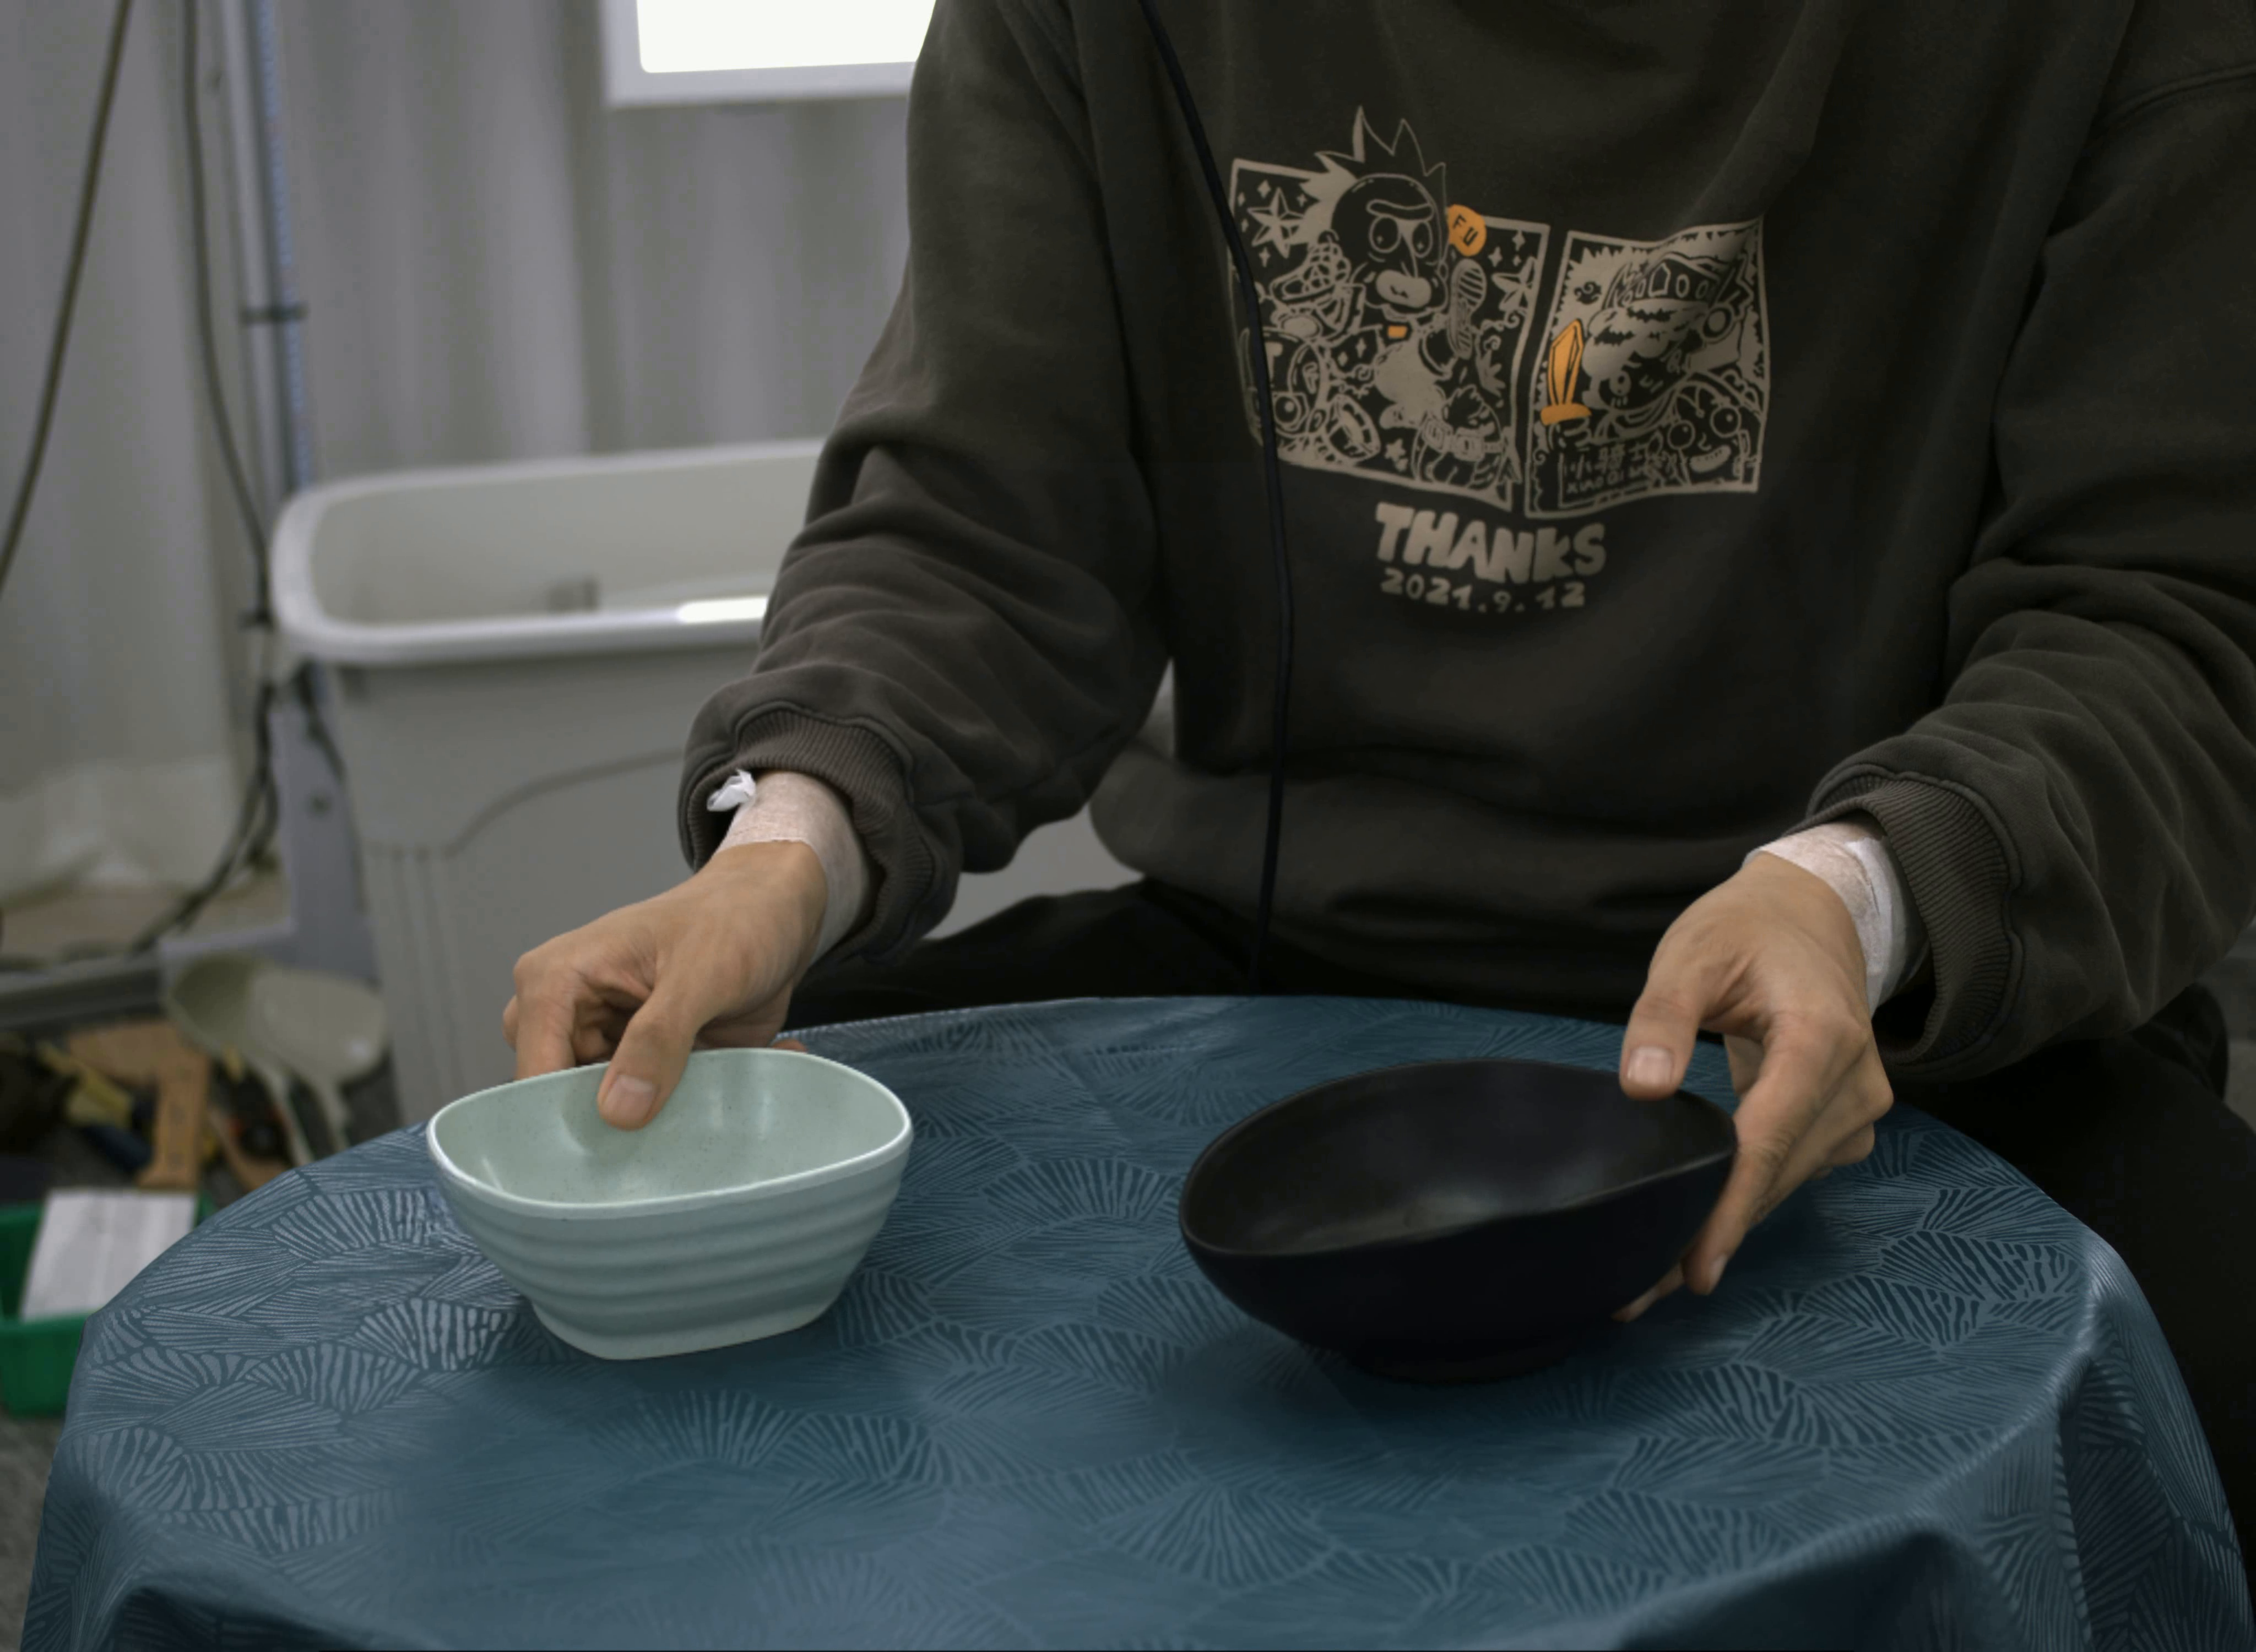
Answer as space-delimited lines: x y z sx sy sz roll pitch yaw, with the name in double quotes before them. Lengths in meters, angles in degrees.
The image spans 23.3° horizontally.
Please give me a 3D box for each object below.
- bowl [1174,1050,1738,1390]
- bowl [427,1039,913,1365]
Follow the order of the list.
"bowl" 0.096 0.119 1.564 0.170 0.066 0.138 -13 18 -29
"bowl" -0.135 0.116 1.635 0.151 0.058 0.152 -2 17 0
